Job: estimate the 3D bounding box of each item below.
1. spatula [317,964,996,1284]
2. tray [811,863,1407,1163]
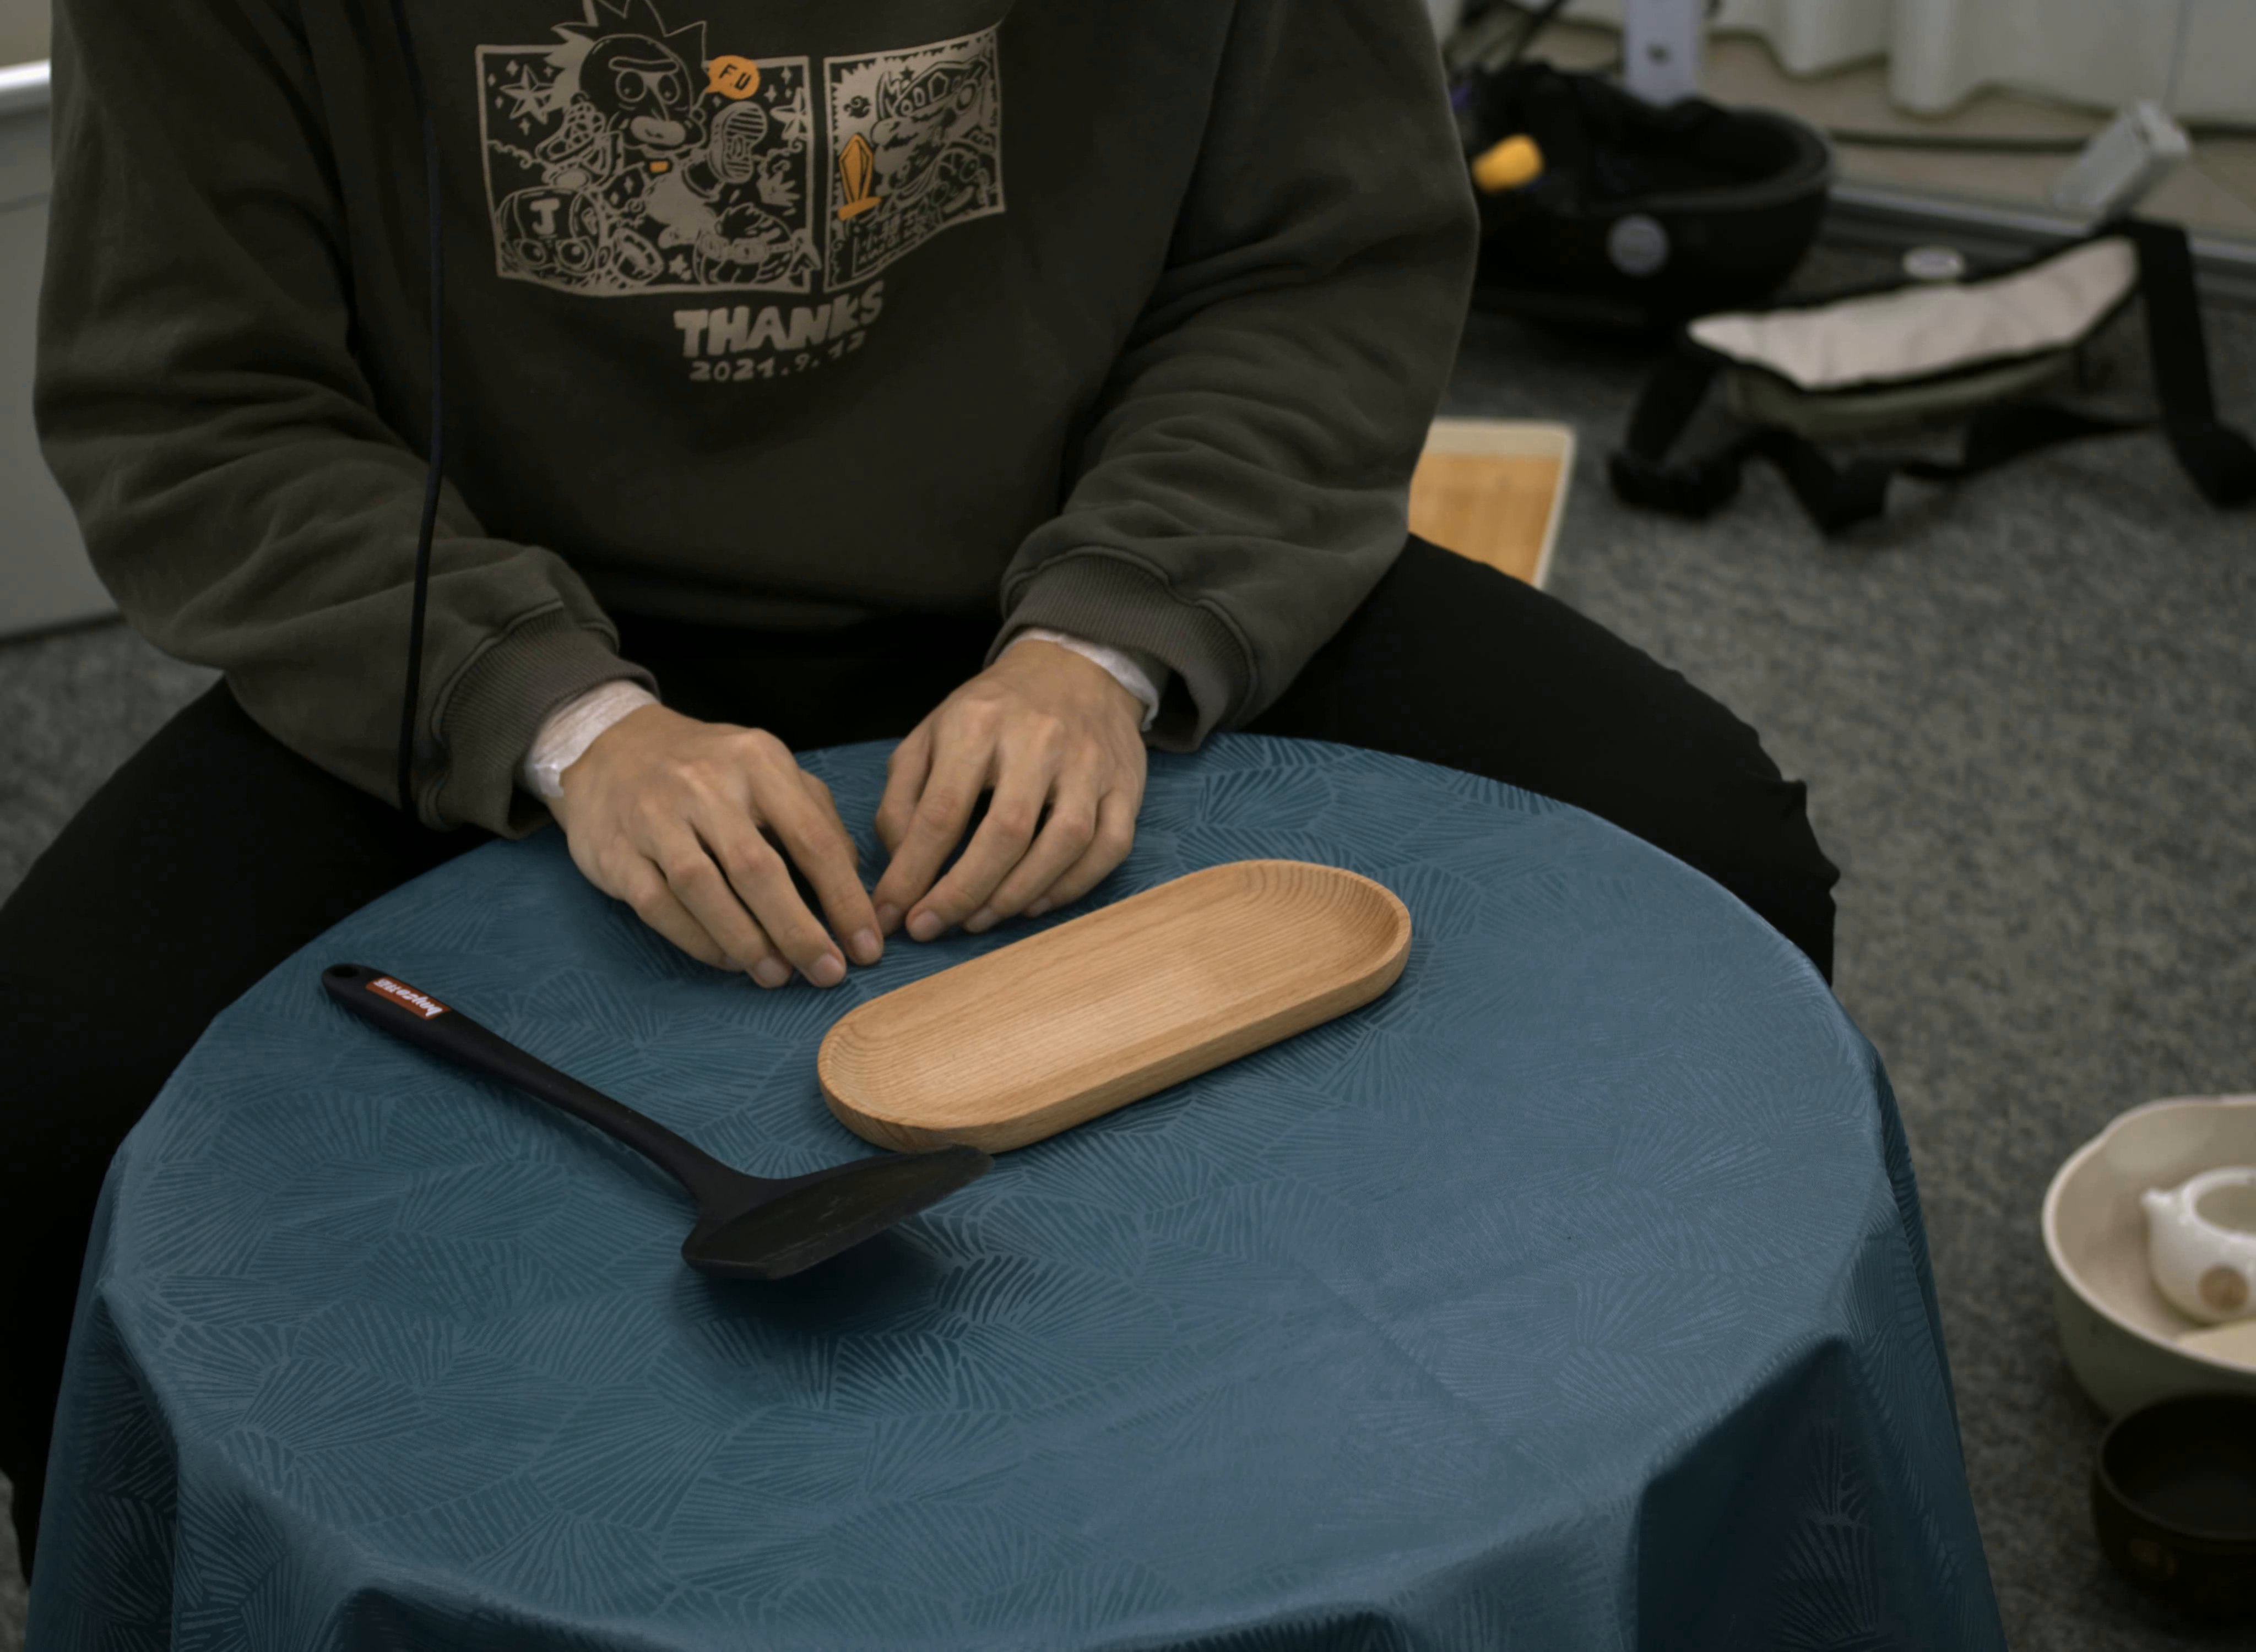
[{"bbox_3d":[-0.180,0.092,1.896,0.101,0.040,0.326,-24,34,-36],"label":"spatula"},{"bbox_3d":[-0.005,0.064,1.954,0.233,0.020,0.102,-22,33,-30],"label":"tray"}]
